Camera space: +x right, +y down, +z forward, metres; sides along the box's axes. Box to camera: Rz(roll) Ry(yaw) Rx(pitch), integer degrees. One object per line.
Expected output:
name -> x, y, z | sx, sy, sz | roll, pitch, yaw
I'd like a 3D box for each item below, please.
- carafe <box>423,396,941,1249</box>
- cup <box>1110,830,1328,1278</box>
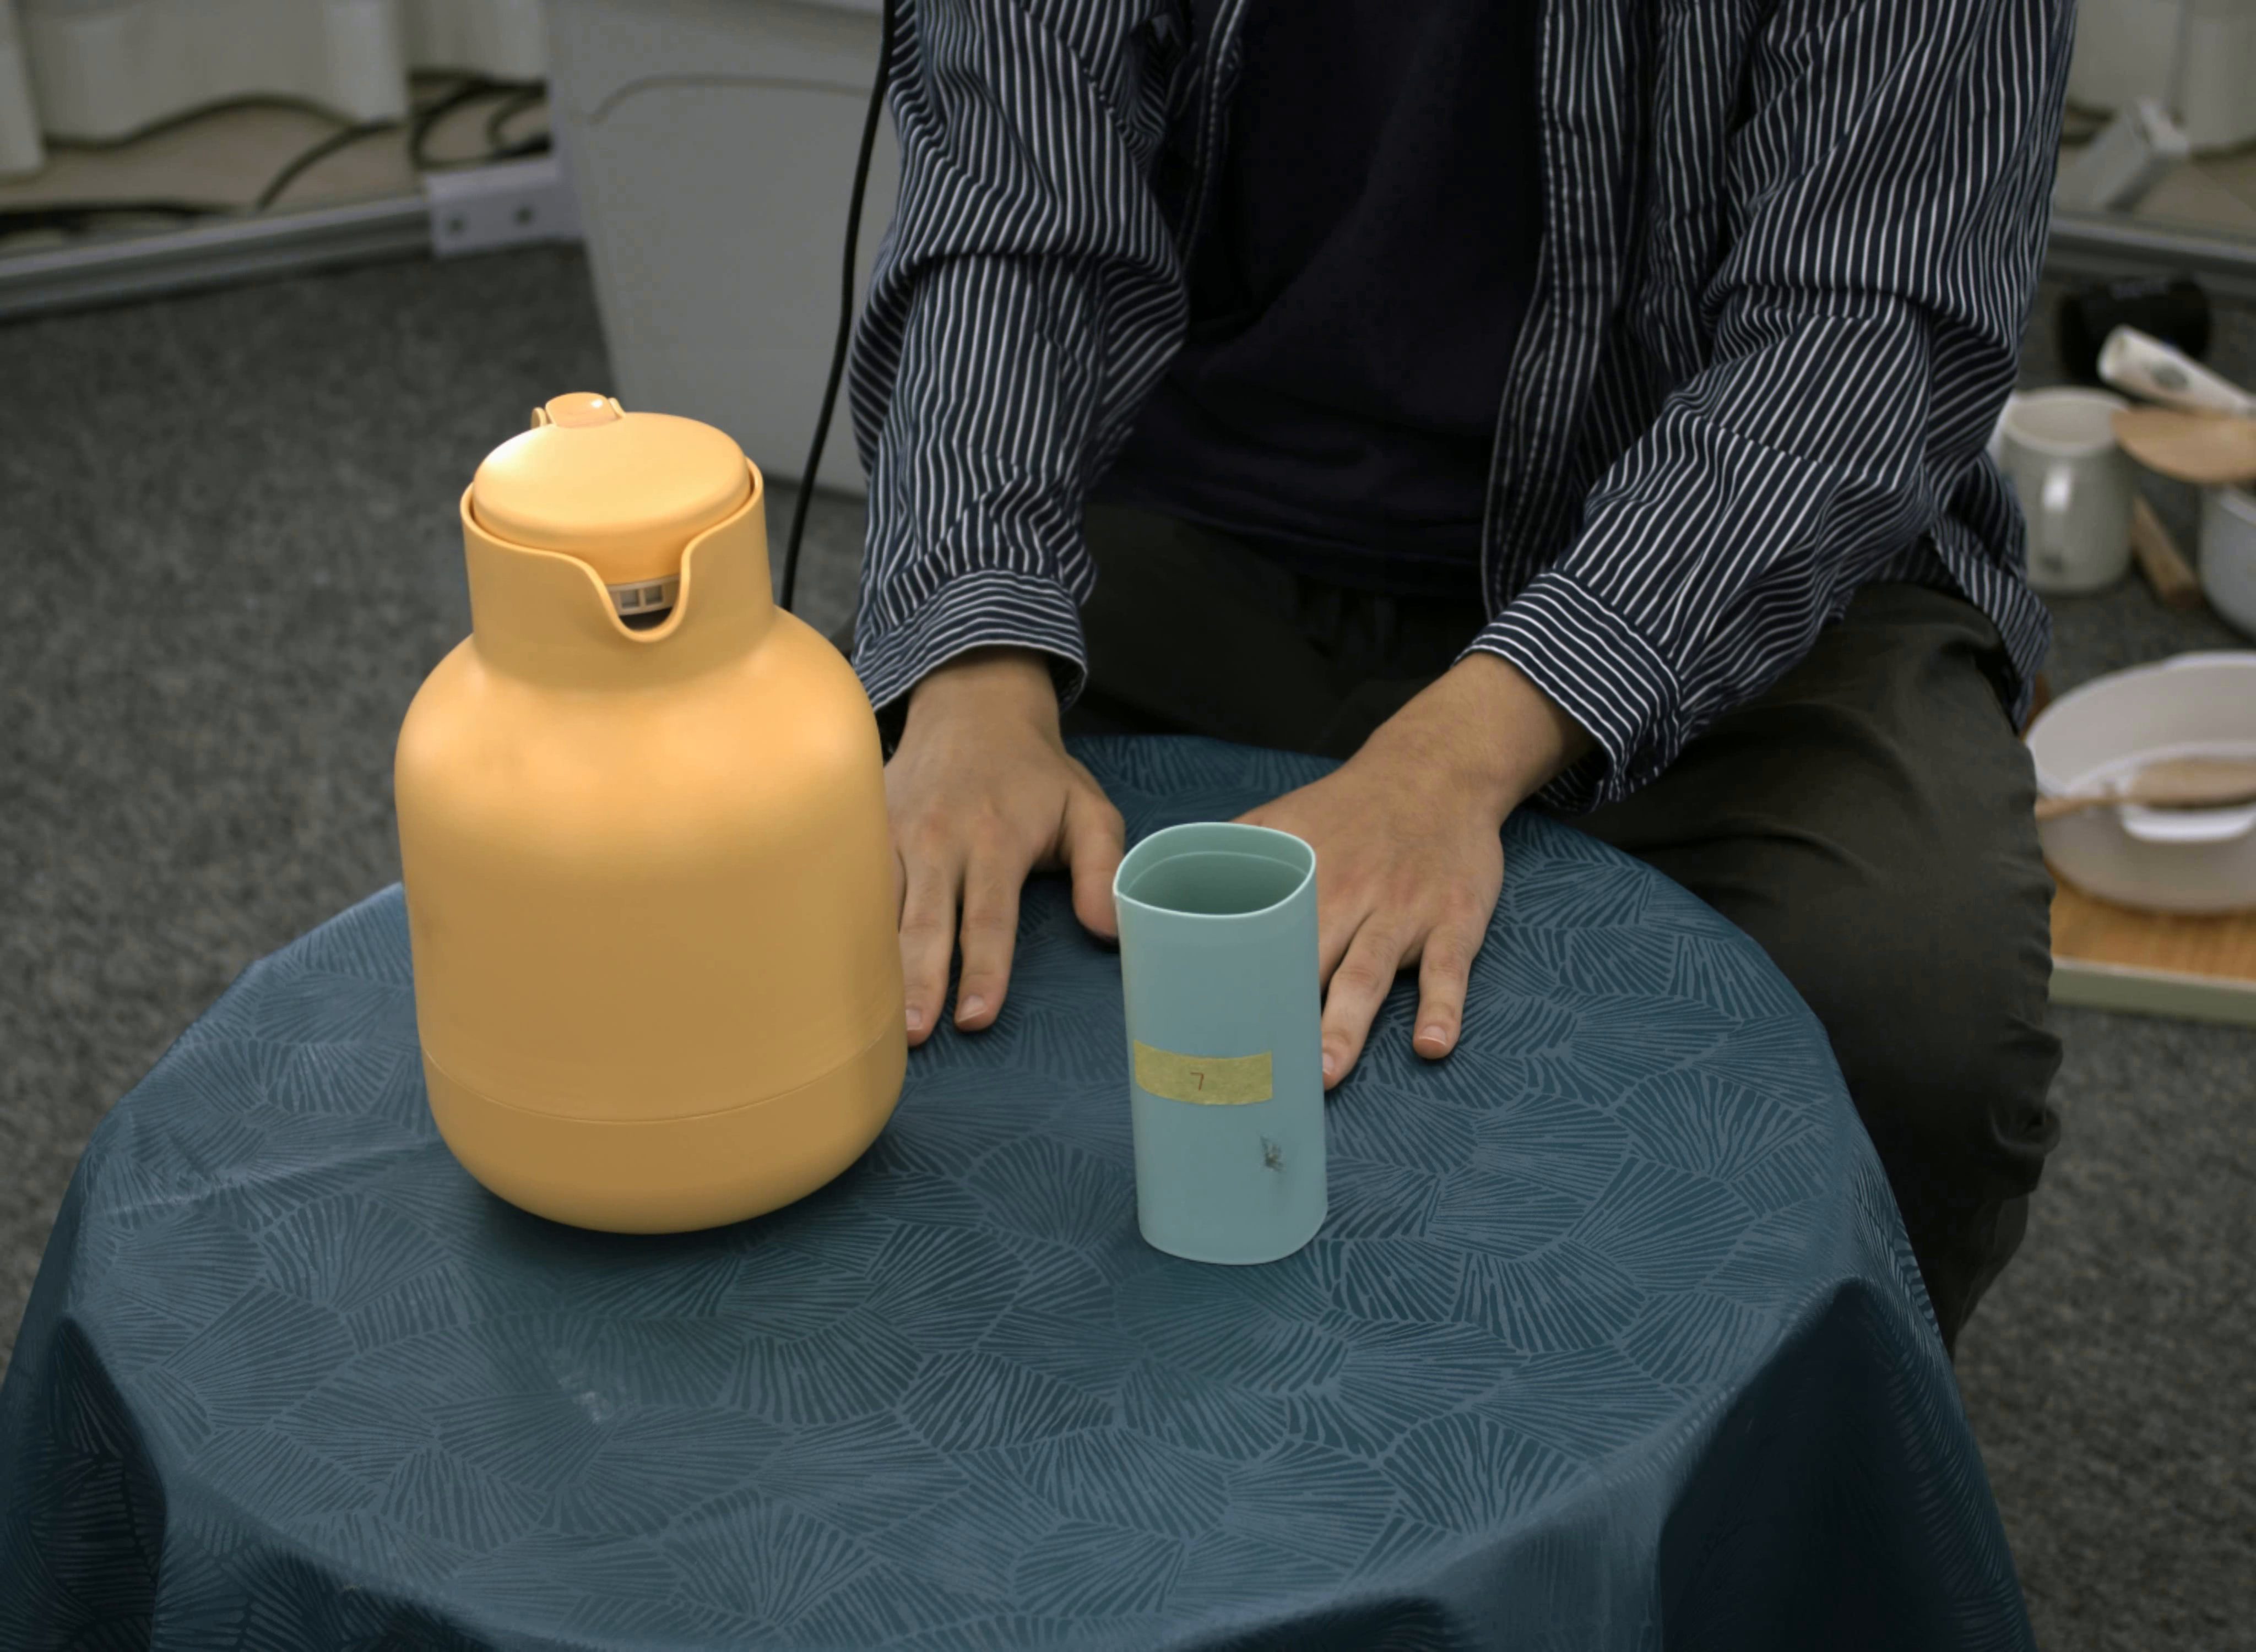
carafe -> -0.152, -0.011, 1.849 | 0.163, 0.258, 0.204 | -9, 27, -13
cup -> 0.031, 0.073, 1.811 | 0.066, 0.131, 0.068 | -3, 28, 2
